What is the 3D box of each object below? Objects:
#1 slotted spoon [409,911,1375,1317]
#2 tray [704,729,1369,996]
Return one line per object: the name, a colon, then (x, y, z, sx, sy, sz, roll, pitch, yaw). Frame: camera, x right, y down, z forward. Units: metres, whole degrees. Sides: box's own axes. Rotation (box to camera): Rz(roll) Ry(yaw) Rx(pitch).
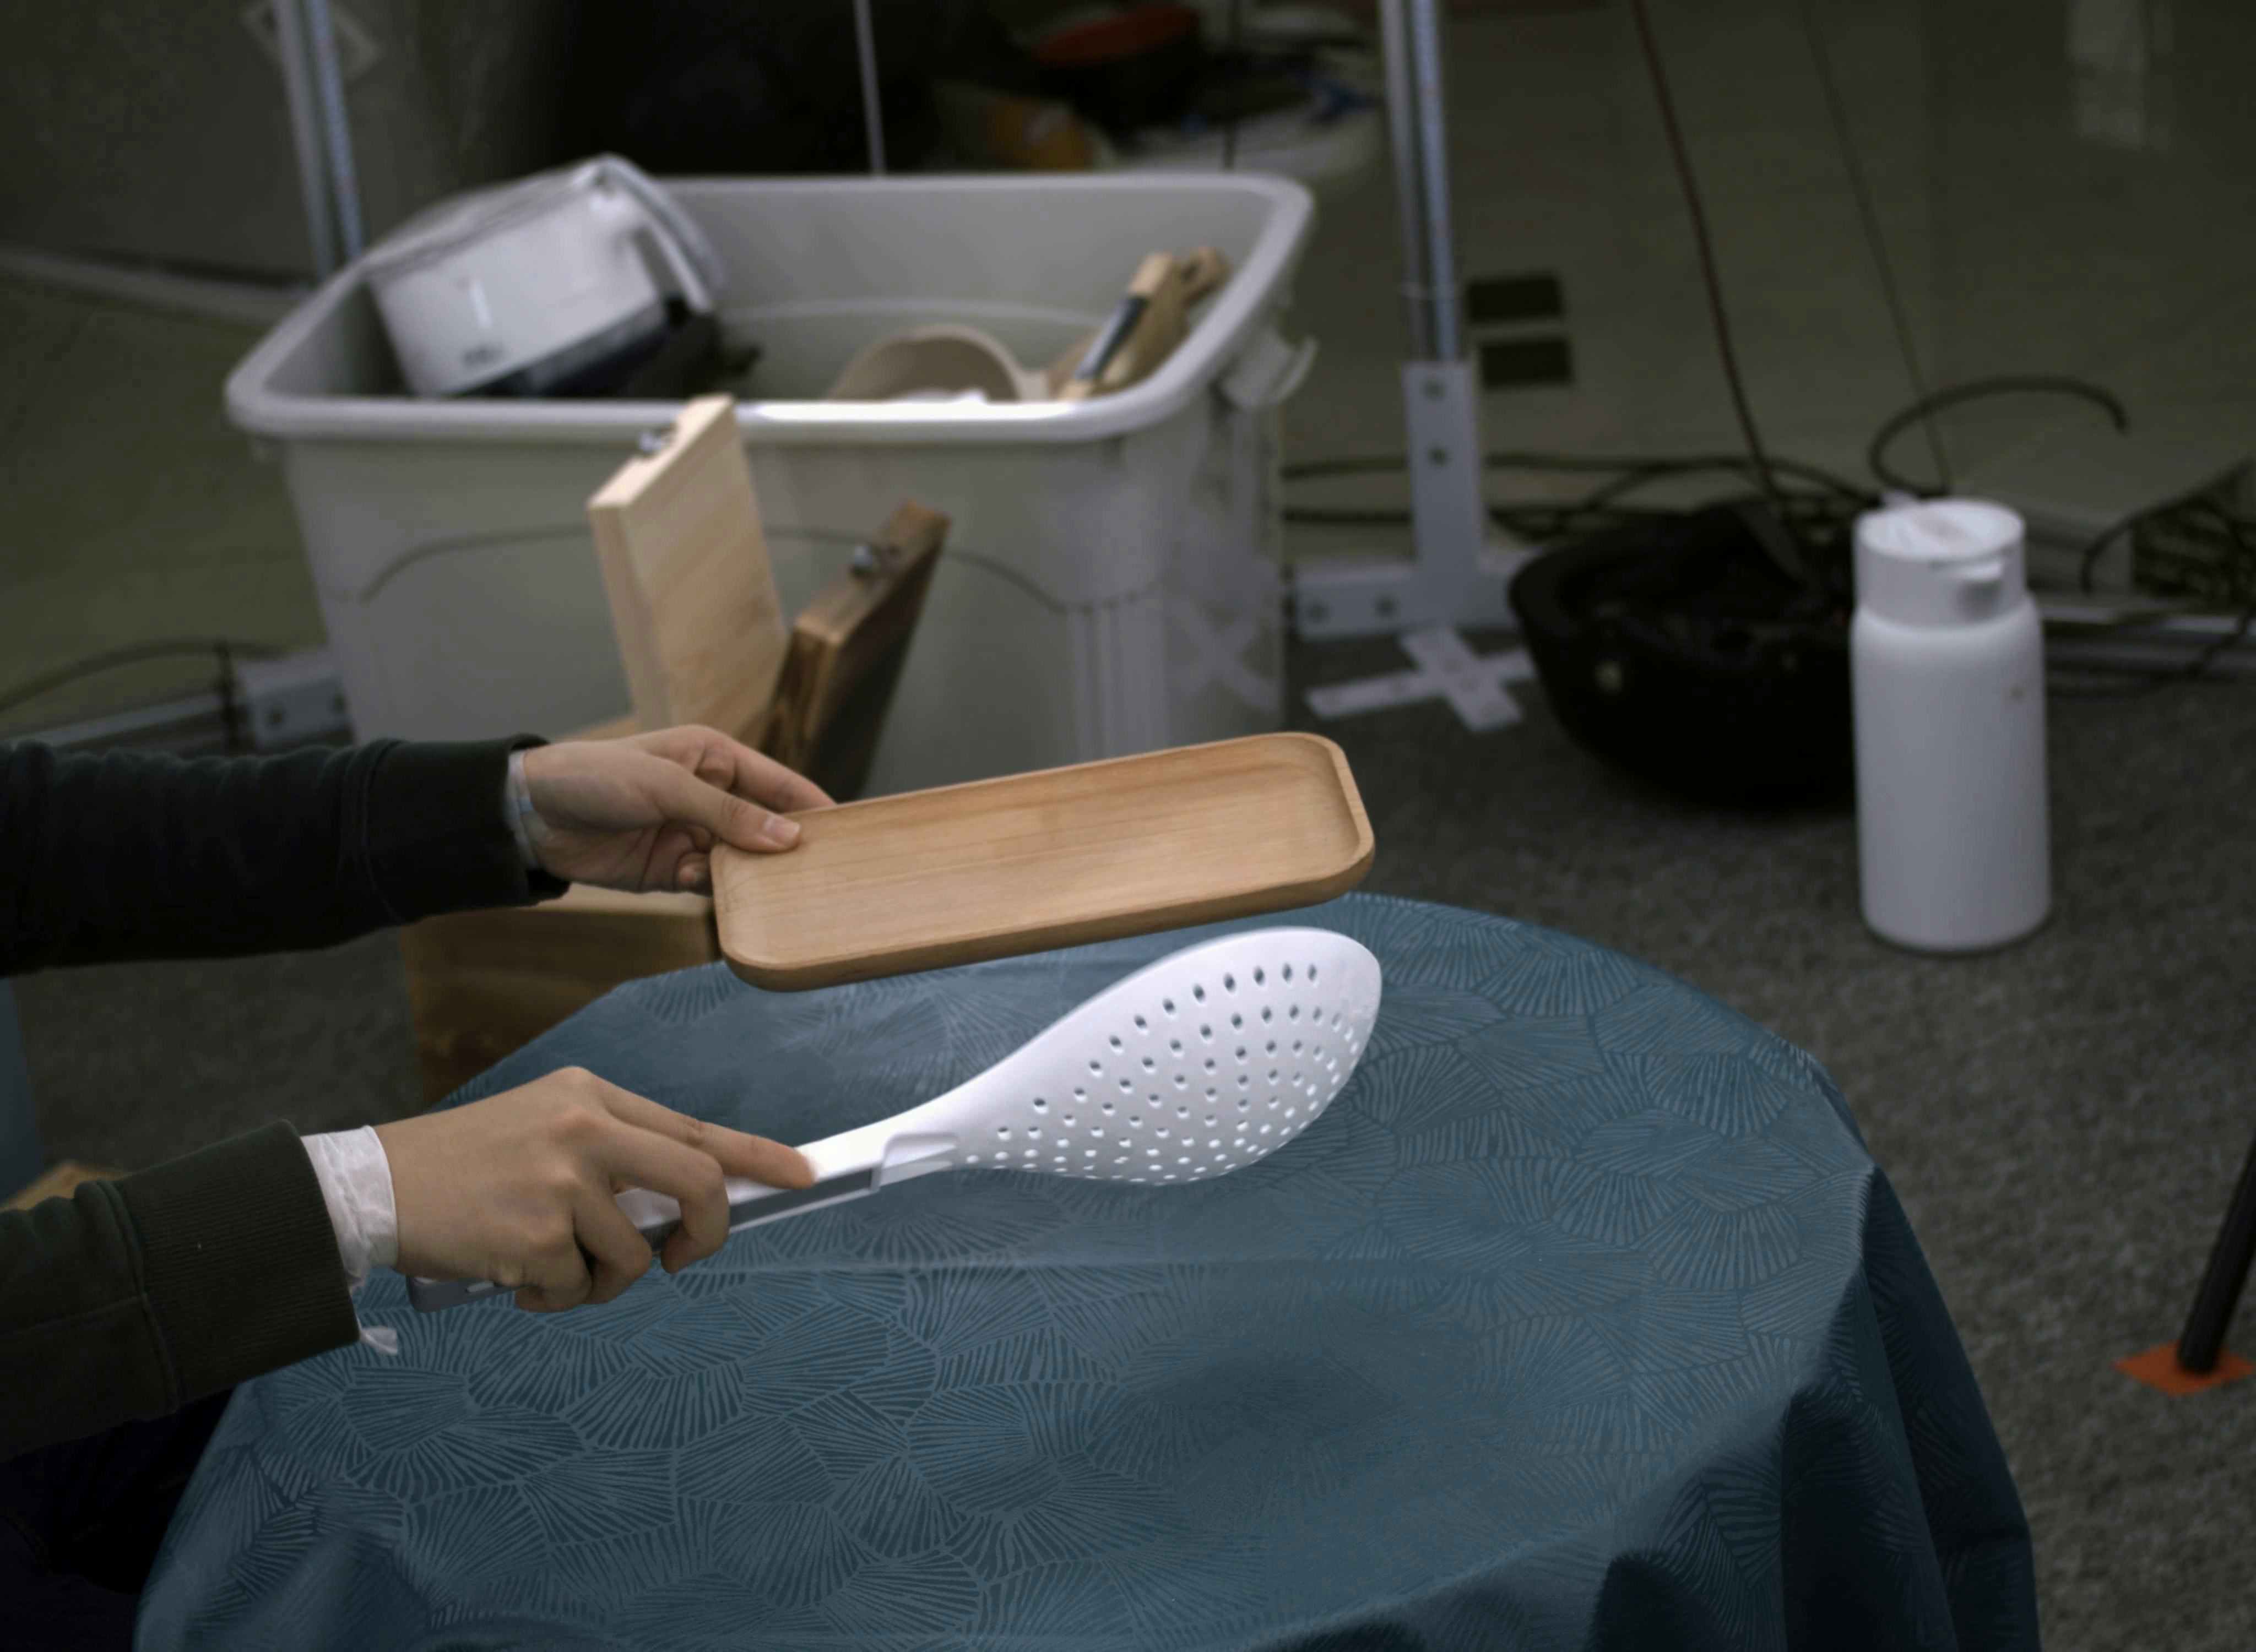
slotted spoon: (-0.074, 0.108, 1.918, 0.349, 0.138, 0.045, -11, 52, -14)
tray: (-0.036, 0.014, 2.166, 0.250, 0.023, 0.128, -10, 26, -2)
